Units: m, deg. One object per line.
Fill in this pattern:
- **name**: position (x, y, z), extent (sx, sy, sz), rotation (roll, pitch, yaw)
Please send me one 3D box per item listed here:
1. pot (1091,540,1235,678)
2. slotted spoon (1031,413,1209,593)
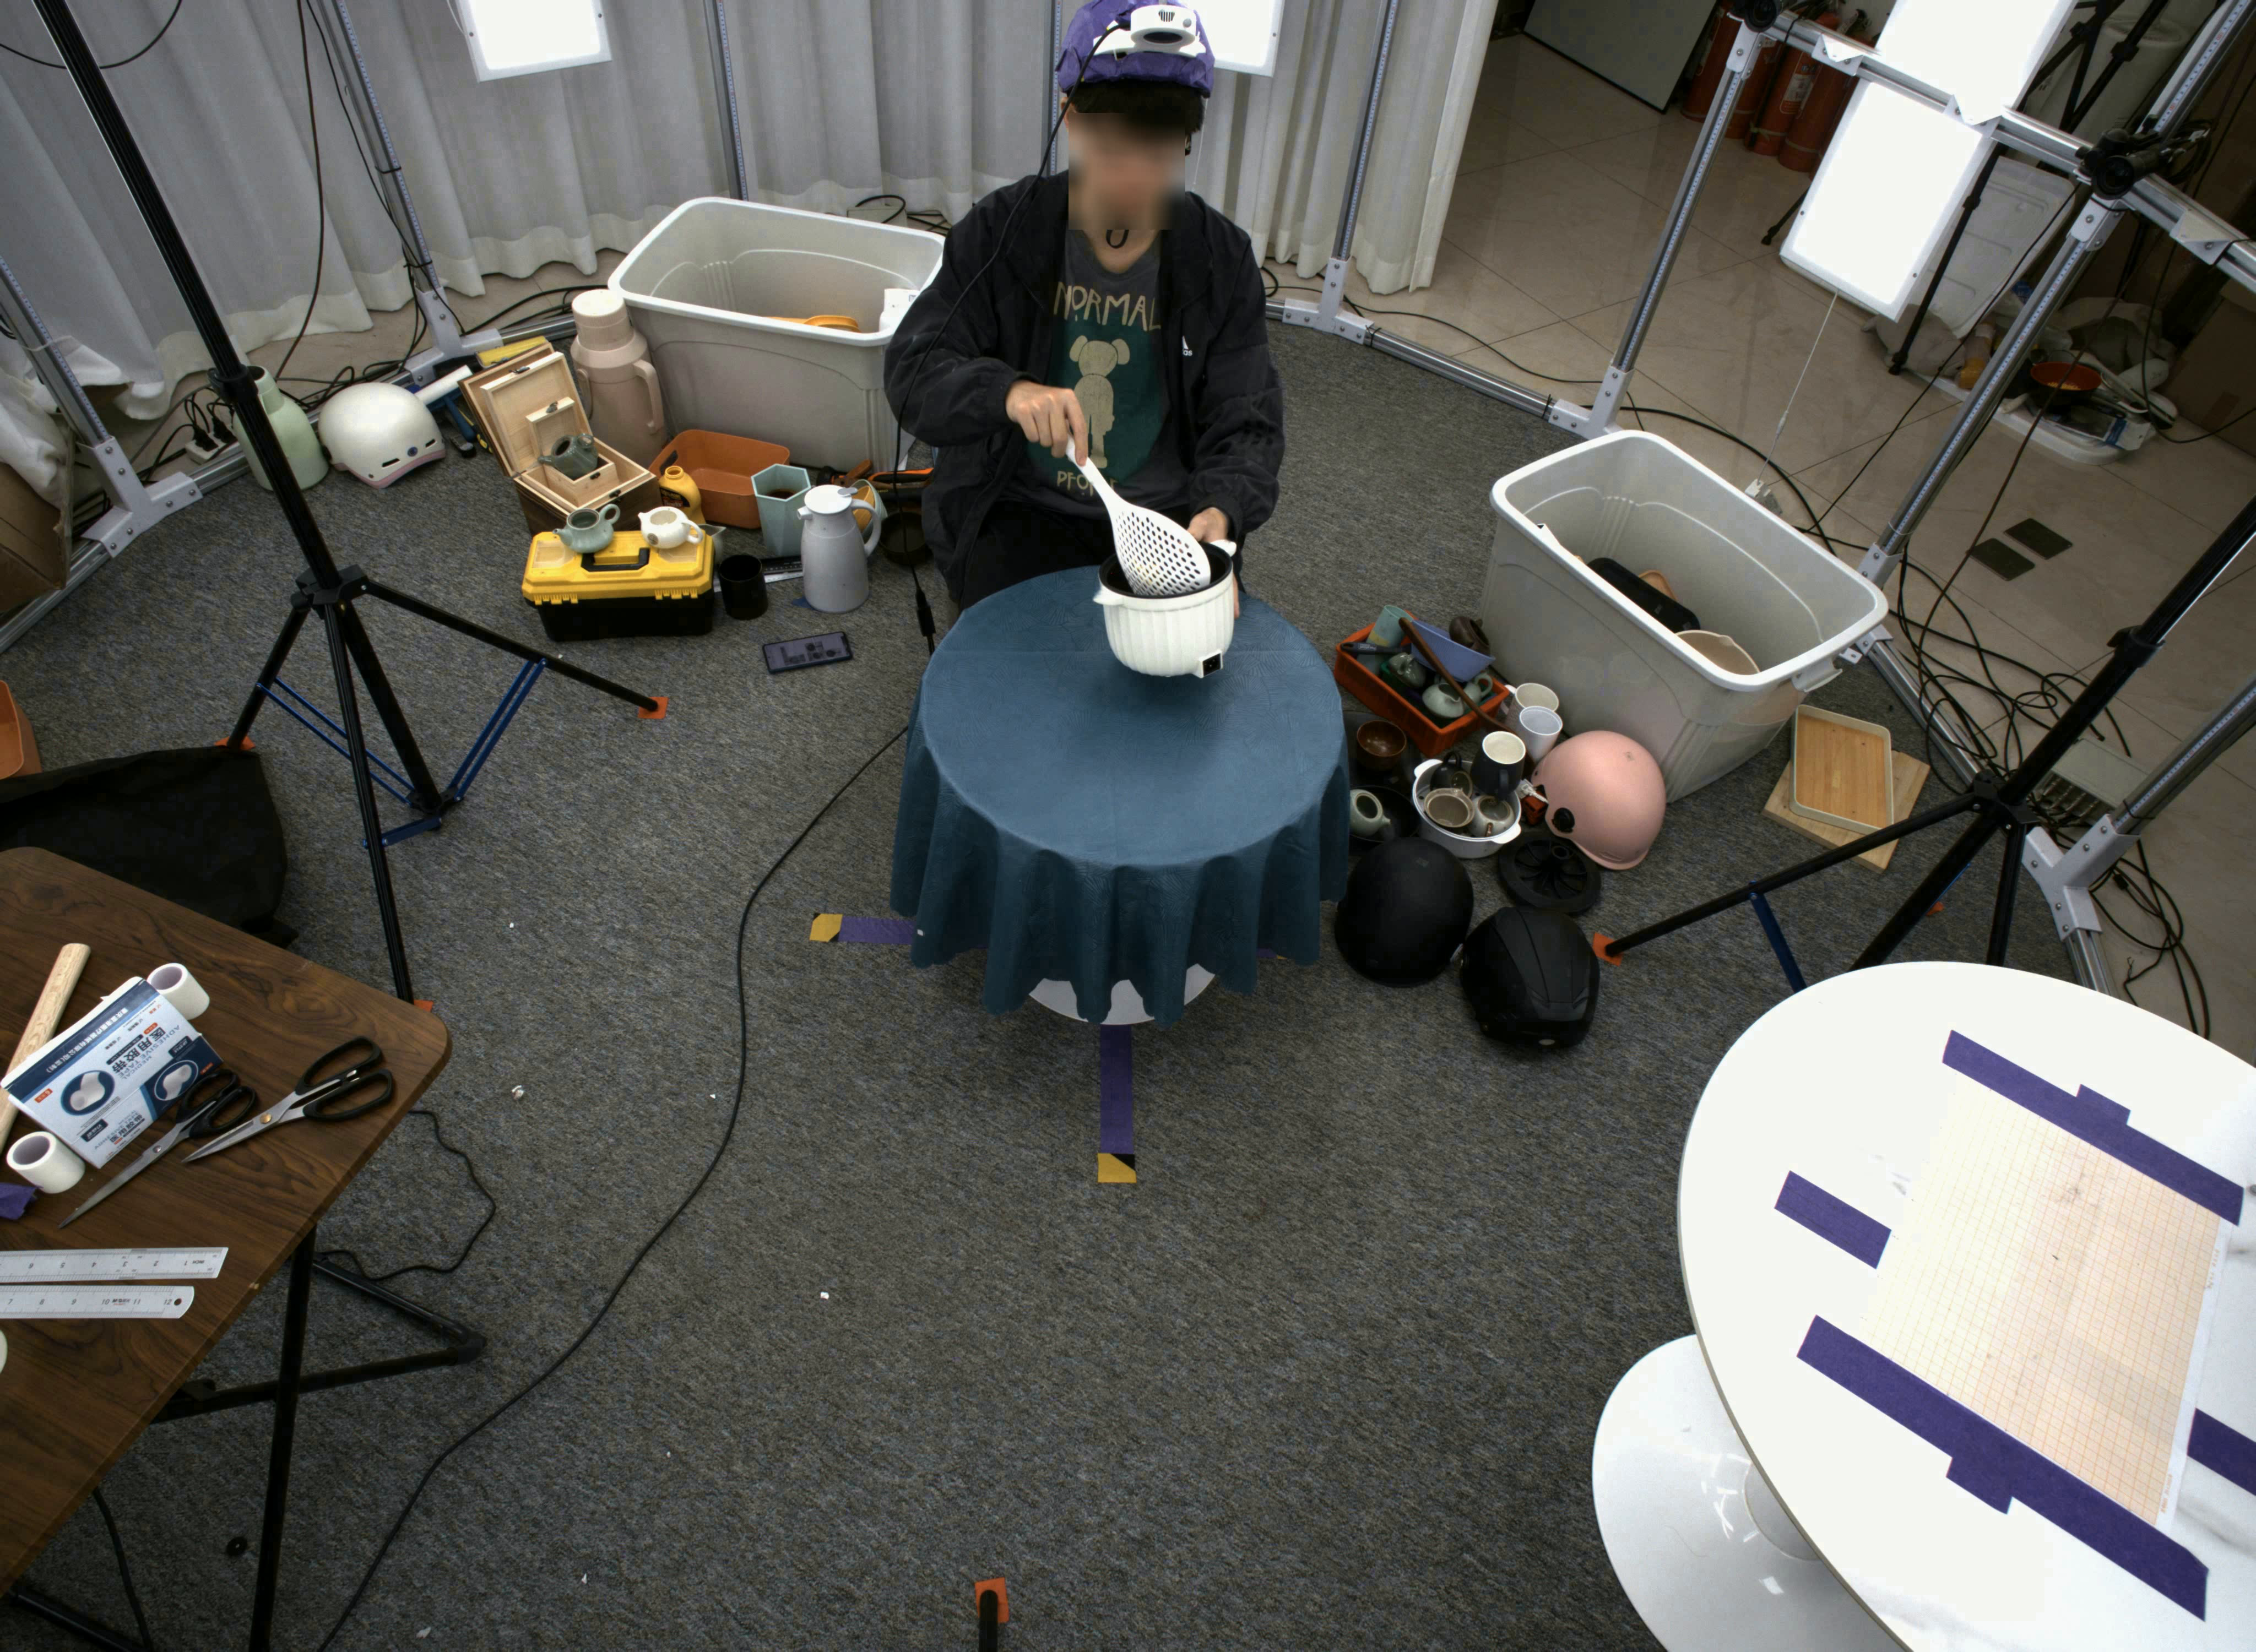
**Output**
- **pot**: position (0.051, -0.299, 1.777), extent (0.241, 0.139, 0.194), rotation (-26, 42, -28)
- **slotted spoon**: position (-0.022, -0.431, 1.763), extent (0.050, 0.134, 0.352), rotation (-21, 69, -42)
